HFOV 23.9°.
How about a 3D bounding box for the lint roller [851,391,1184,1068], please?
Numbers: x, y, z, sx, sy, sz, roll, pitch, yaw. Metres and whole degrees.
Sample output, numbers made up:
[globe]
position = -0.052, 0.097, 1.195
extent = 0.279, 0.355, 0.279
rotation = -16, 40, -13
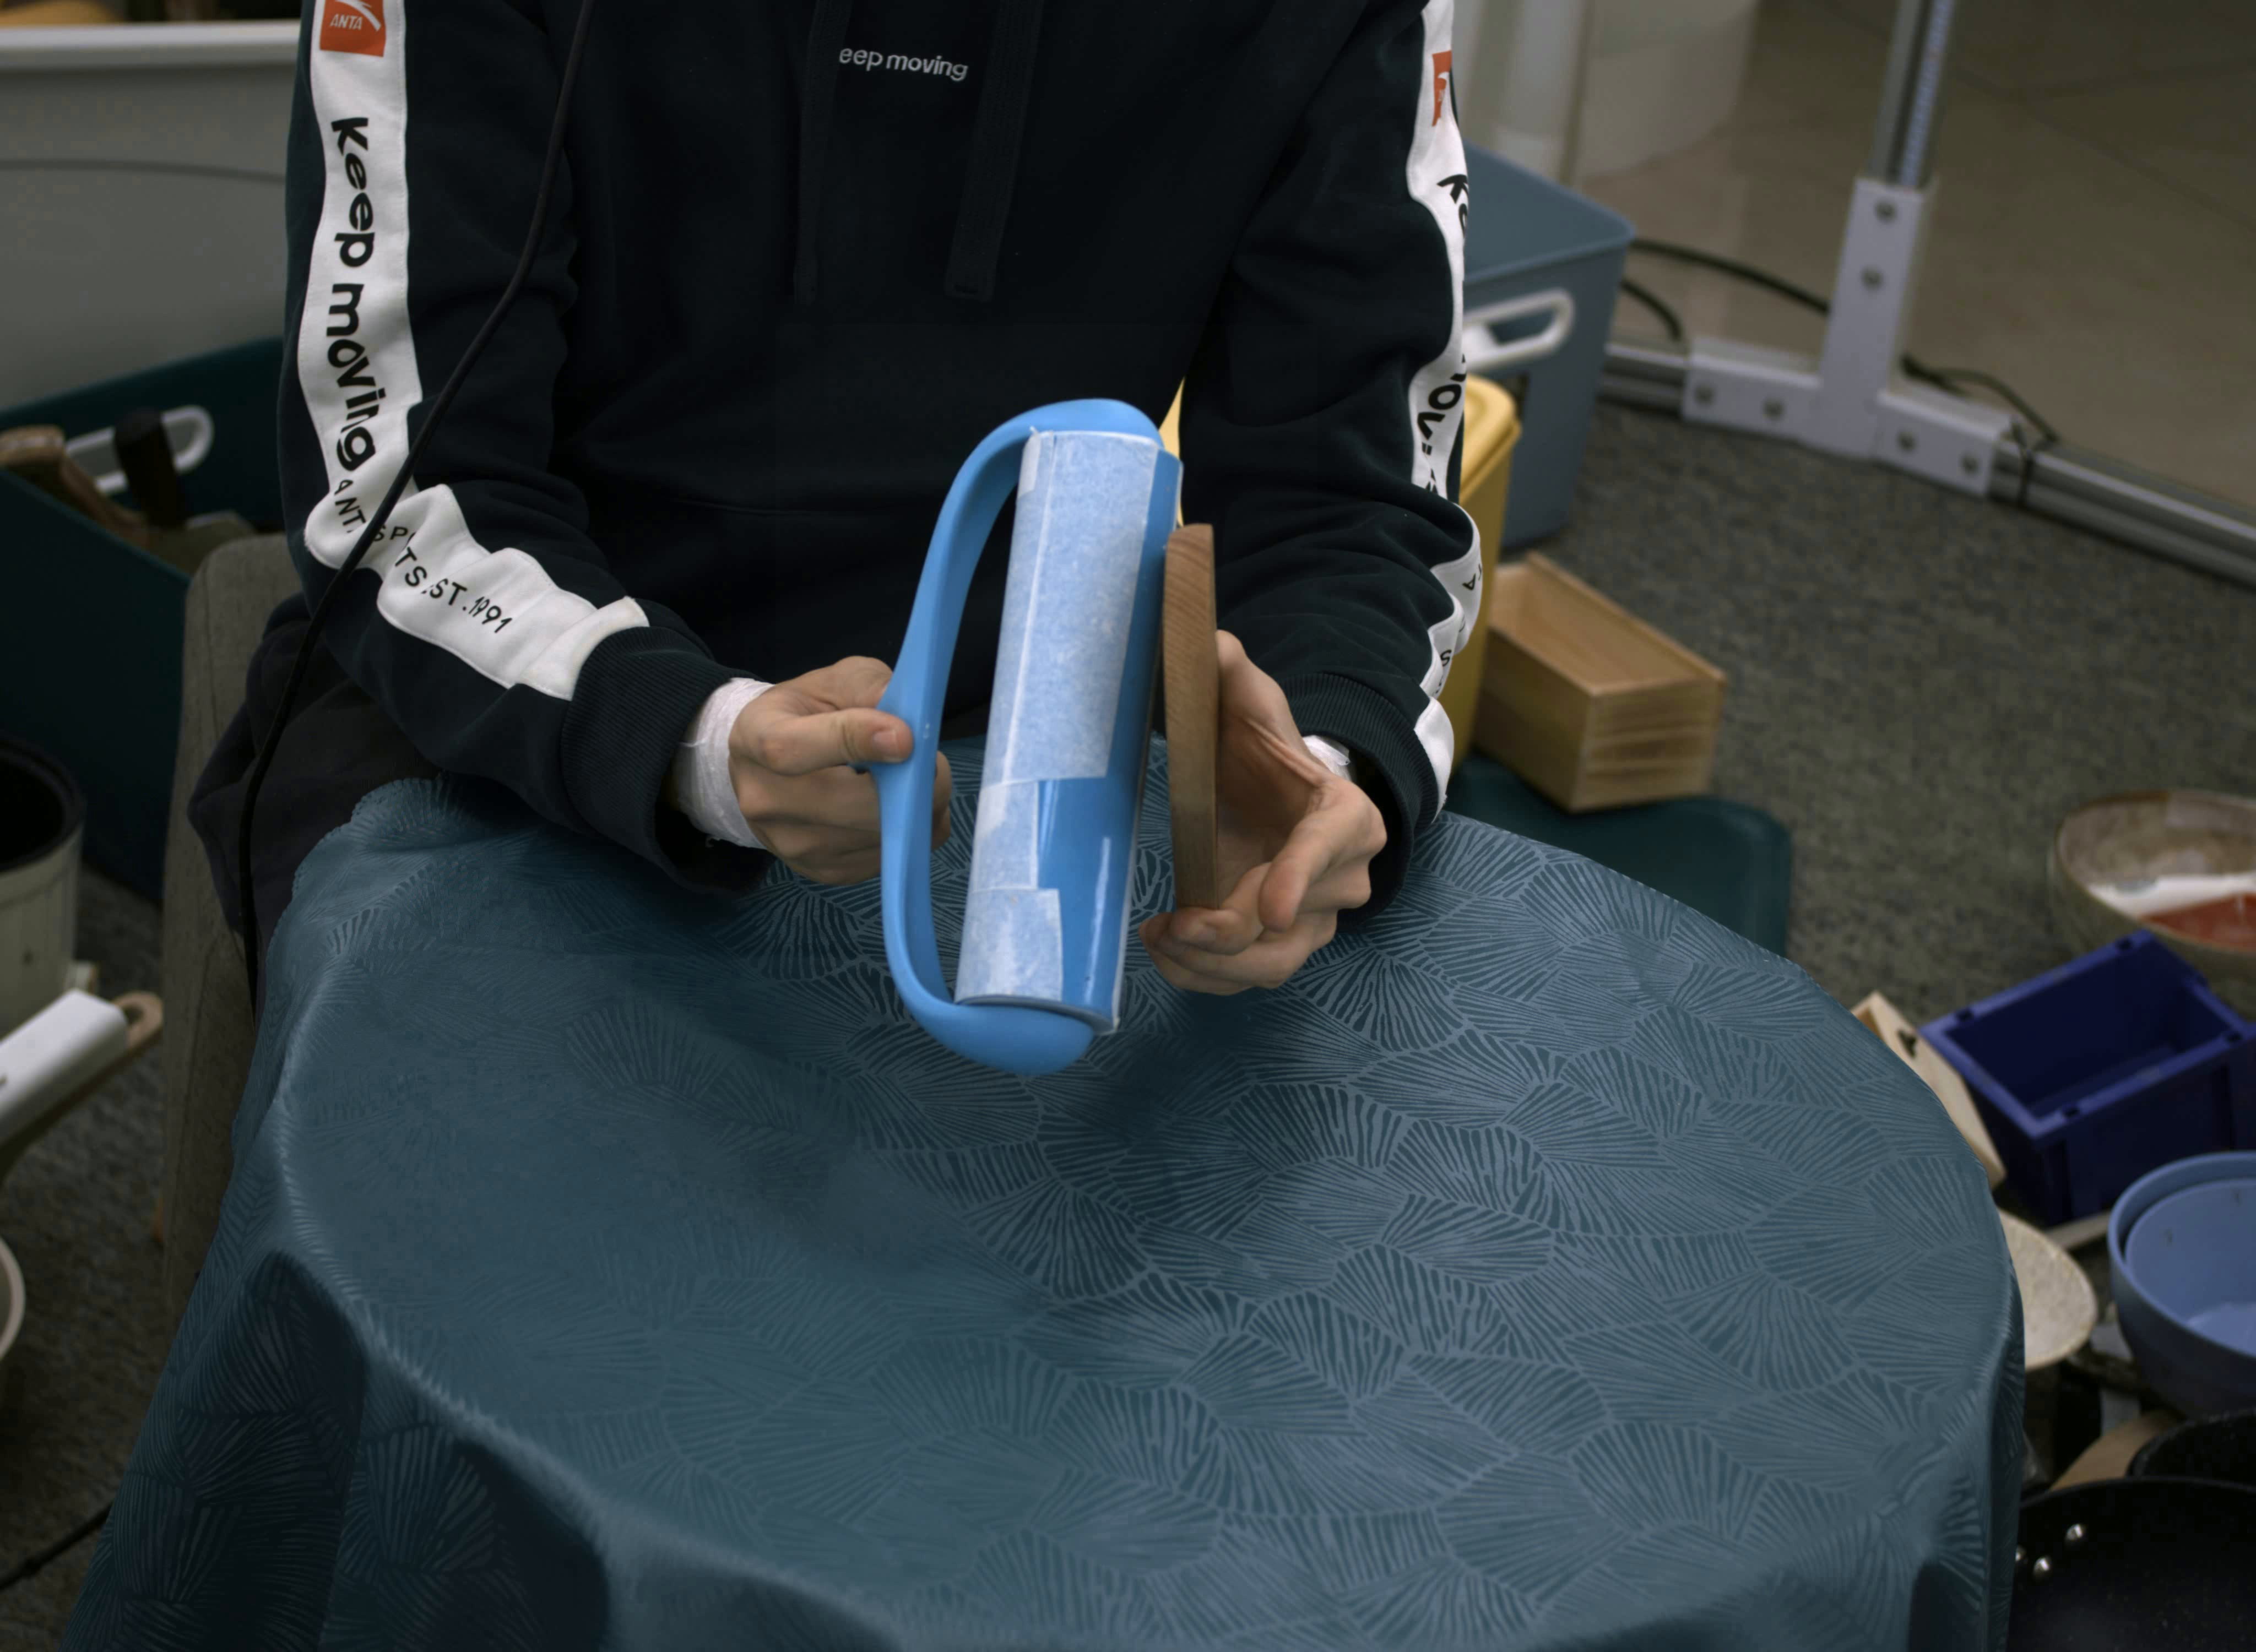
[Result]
[lint roller]
position = -0.055, -0.023, 1.785
extent = 0.067, 0.230, 0.181
rotation = 16, -20, -35

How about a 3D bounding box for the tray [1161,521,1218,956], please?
[tray]
position = 0.021, -0.027, 1.786
extent = 0.020, 0.230, 0.102
rotation = 1, 71, 1
